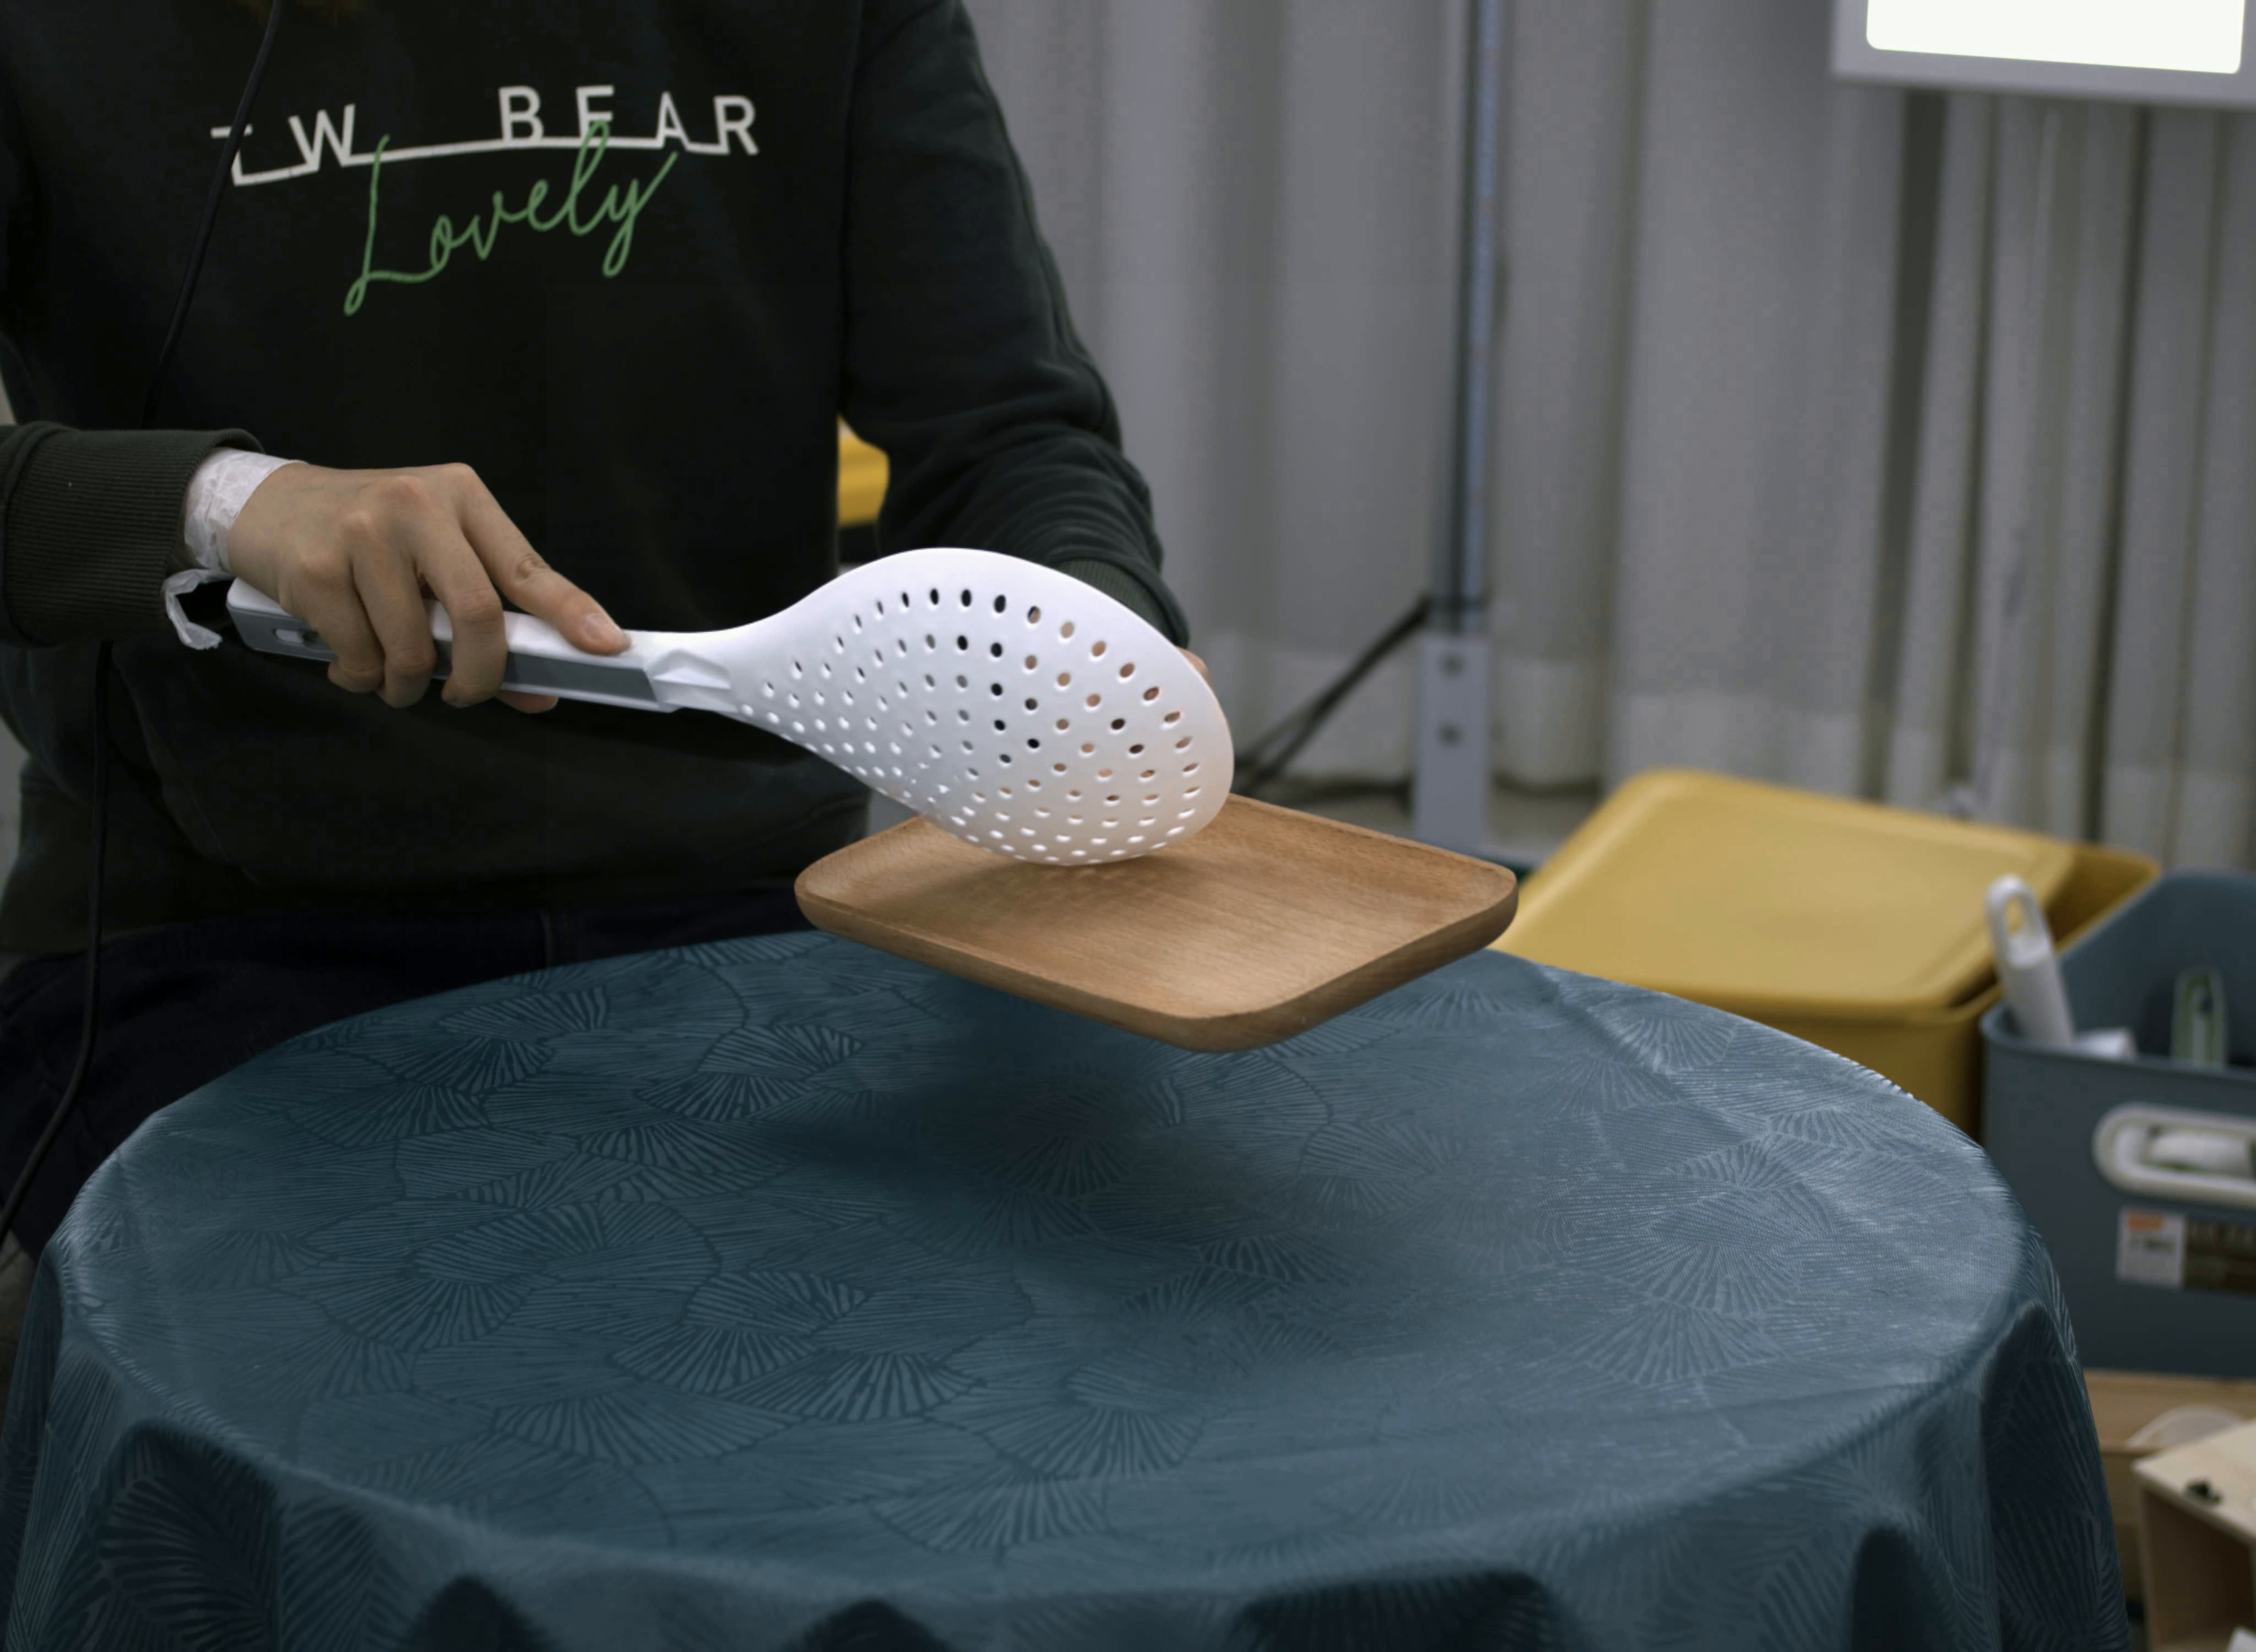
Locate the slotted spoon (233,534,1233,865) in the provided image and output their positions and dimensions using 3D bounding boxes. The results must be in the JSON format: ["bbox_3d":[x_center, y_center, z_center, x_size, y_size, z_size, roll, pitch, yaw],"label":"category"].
[{"bbox_3d":[-0.132,-0.048,1.655,0.346,0.138,0.045,12,51,26],"label":"slotted spoon"}]

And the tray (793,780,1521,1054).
[{"bbox_3d":[0.006,0.022,1.622,0.131,0.023,0.247,-21,21,-31],"label":"tray"}]
